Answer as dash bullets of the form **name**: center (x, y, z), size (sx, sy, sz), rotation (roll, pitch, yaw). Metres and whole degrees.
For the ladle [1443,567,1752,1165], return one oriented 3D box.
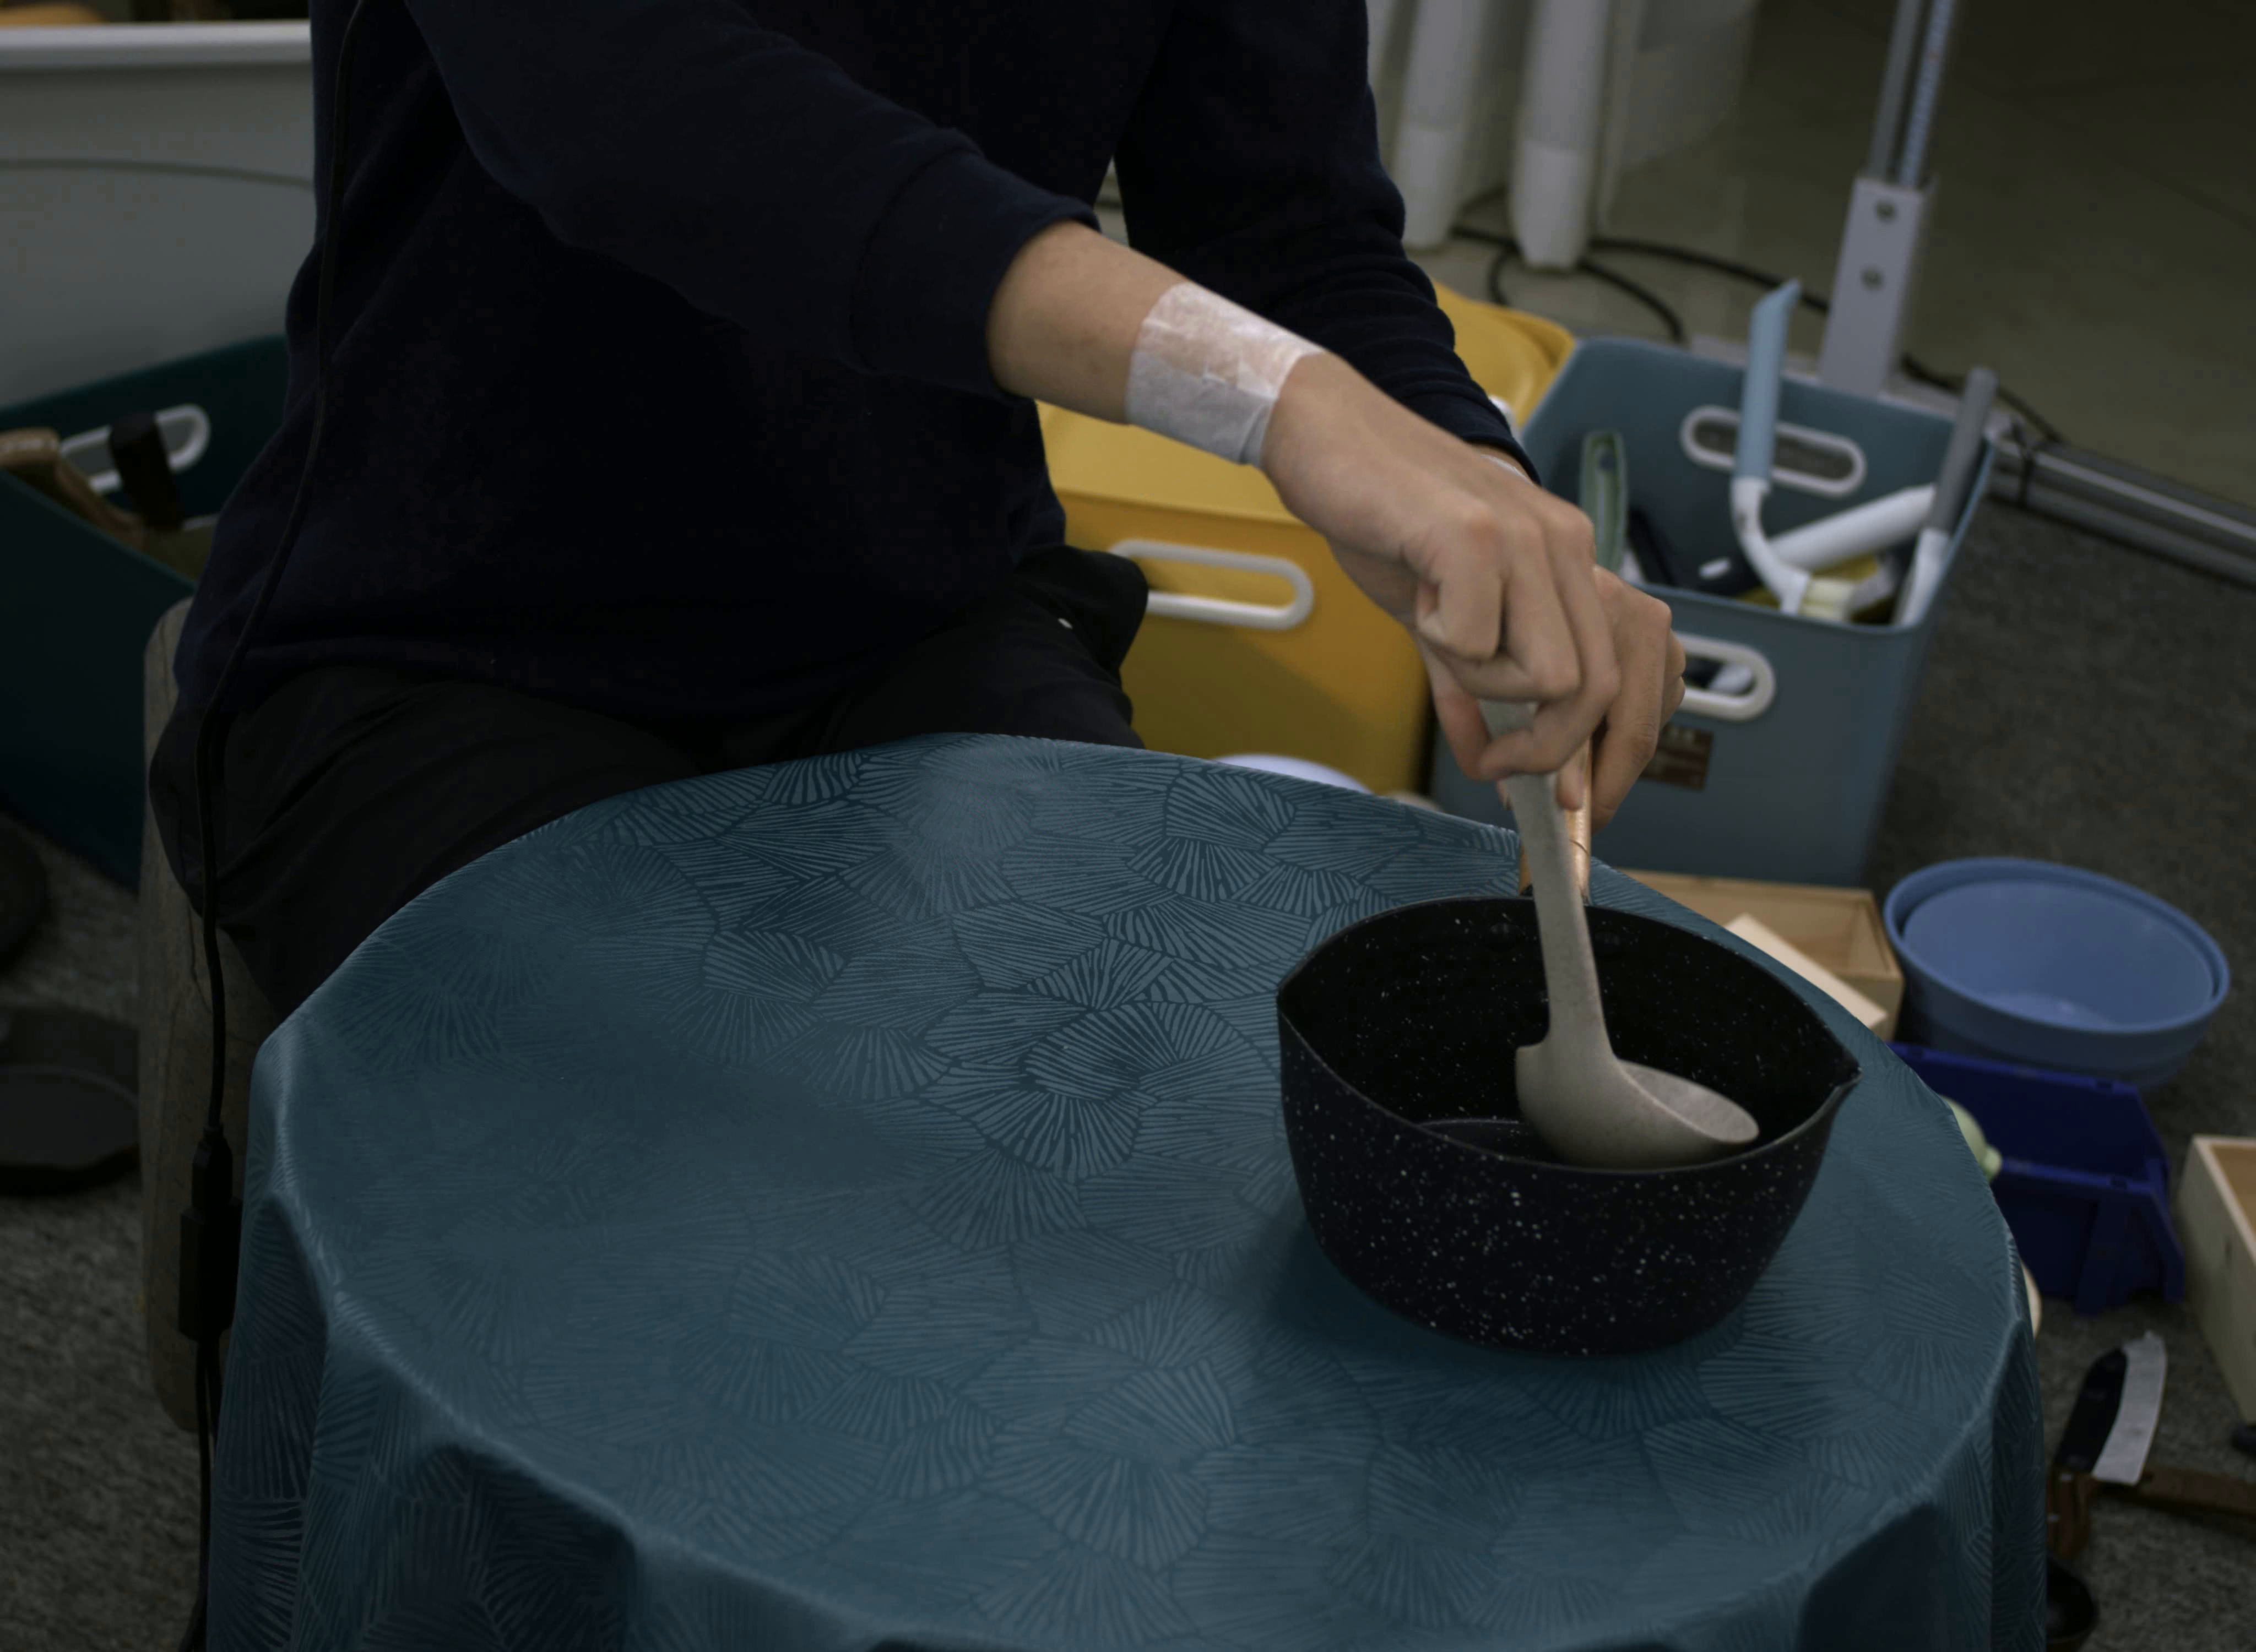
- **ladle**: center (0.149, 0.010, 1.726), size (0.069, 0.273, 0.090), rotation (-37, 43, -27)

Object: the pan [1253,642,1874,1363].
- **pan**: center (0.145, 0.057, 1.847), size (0.207, 0.108, 0.345), rotation (5, 28, 0)
